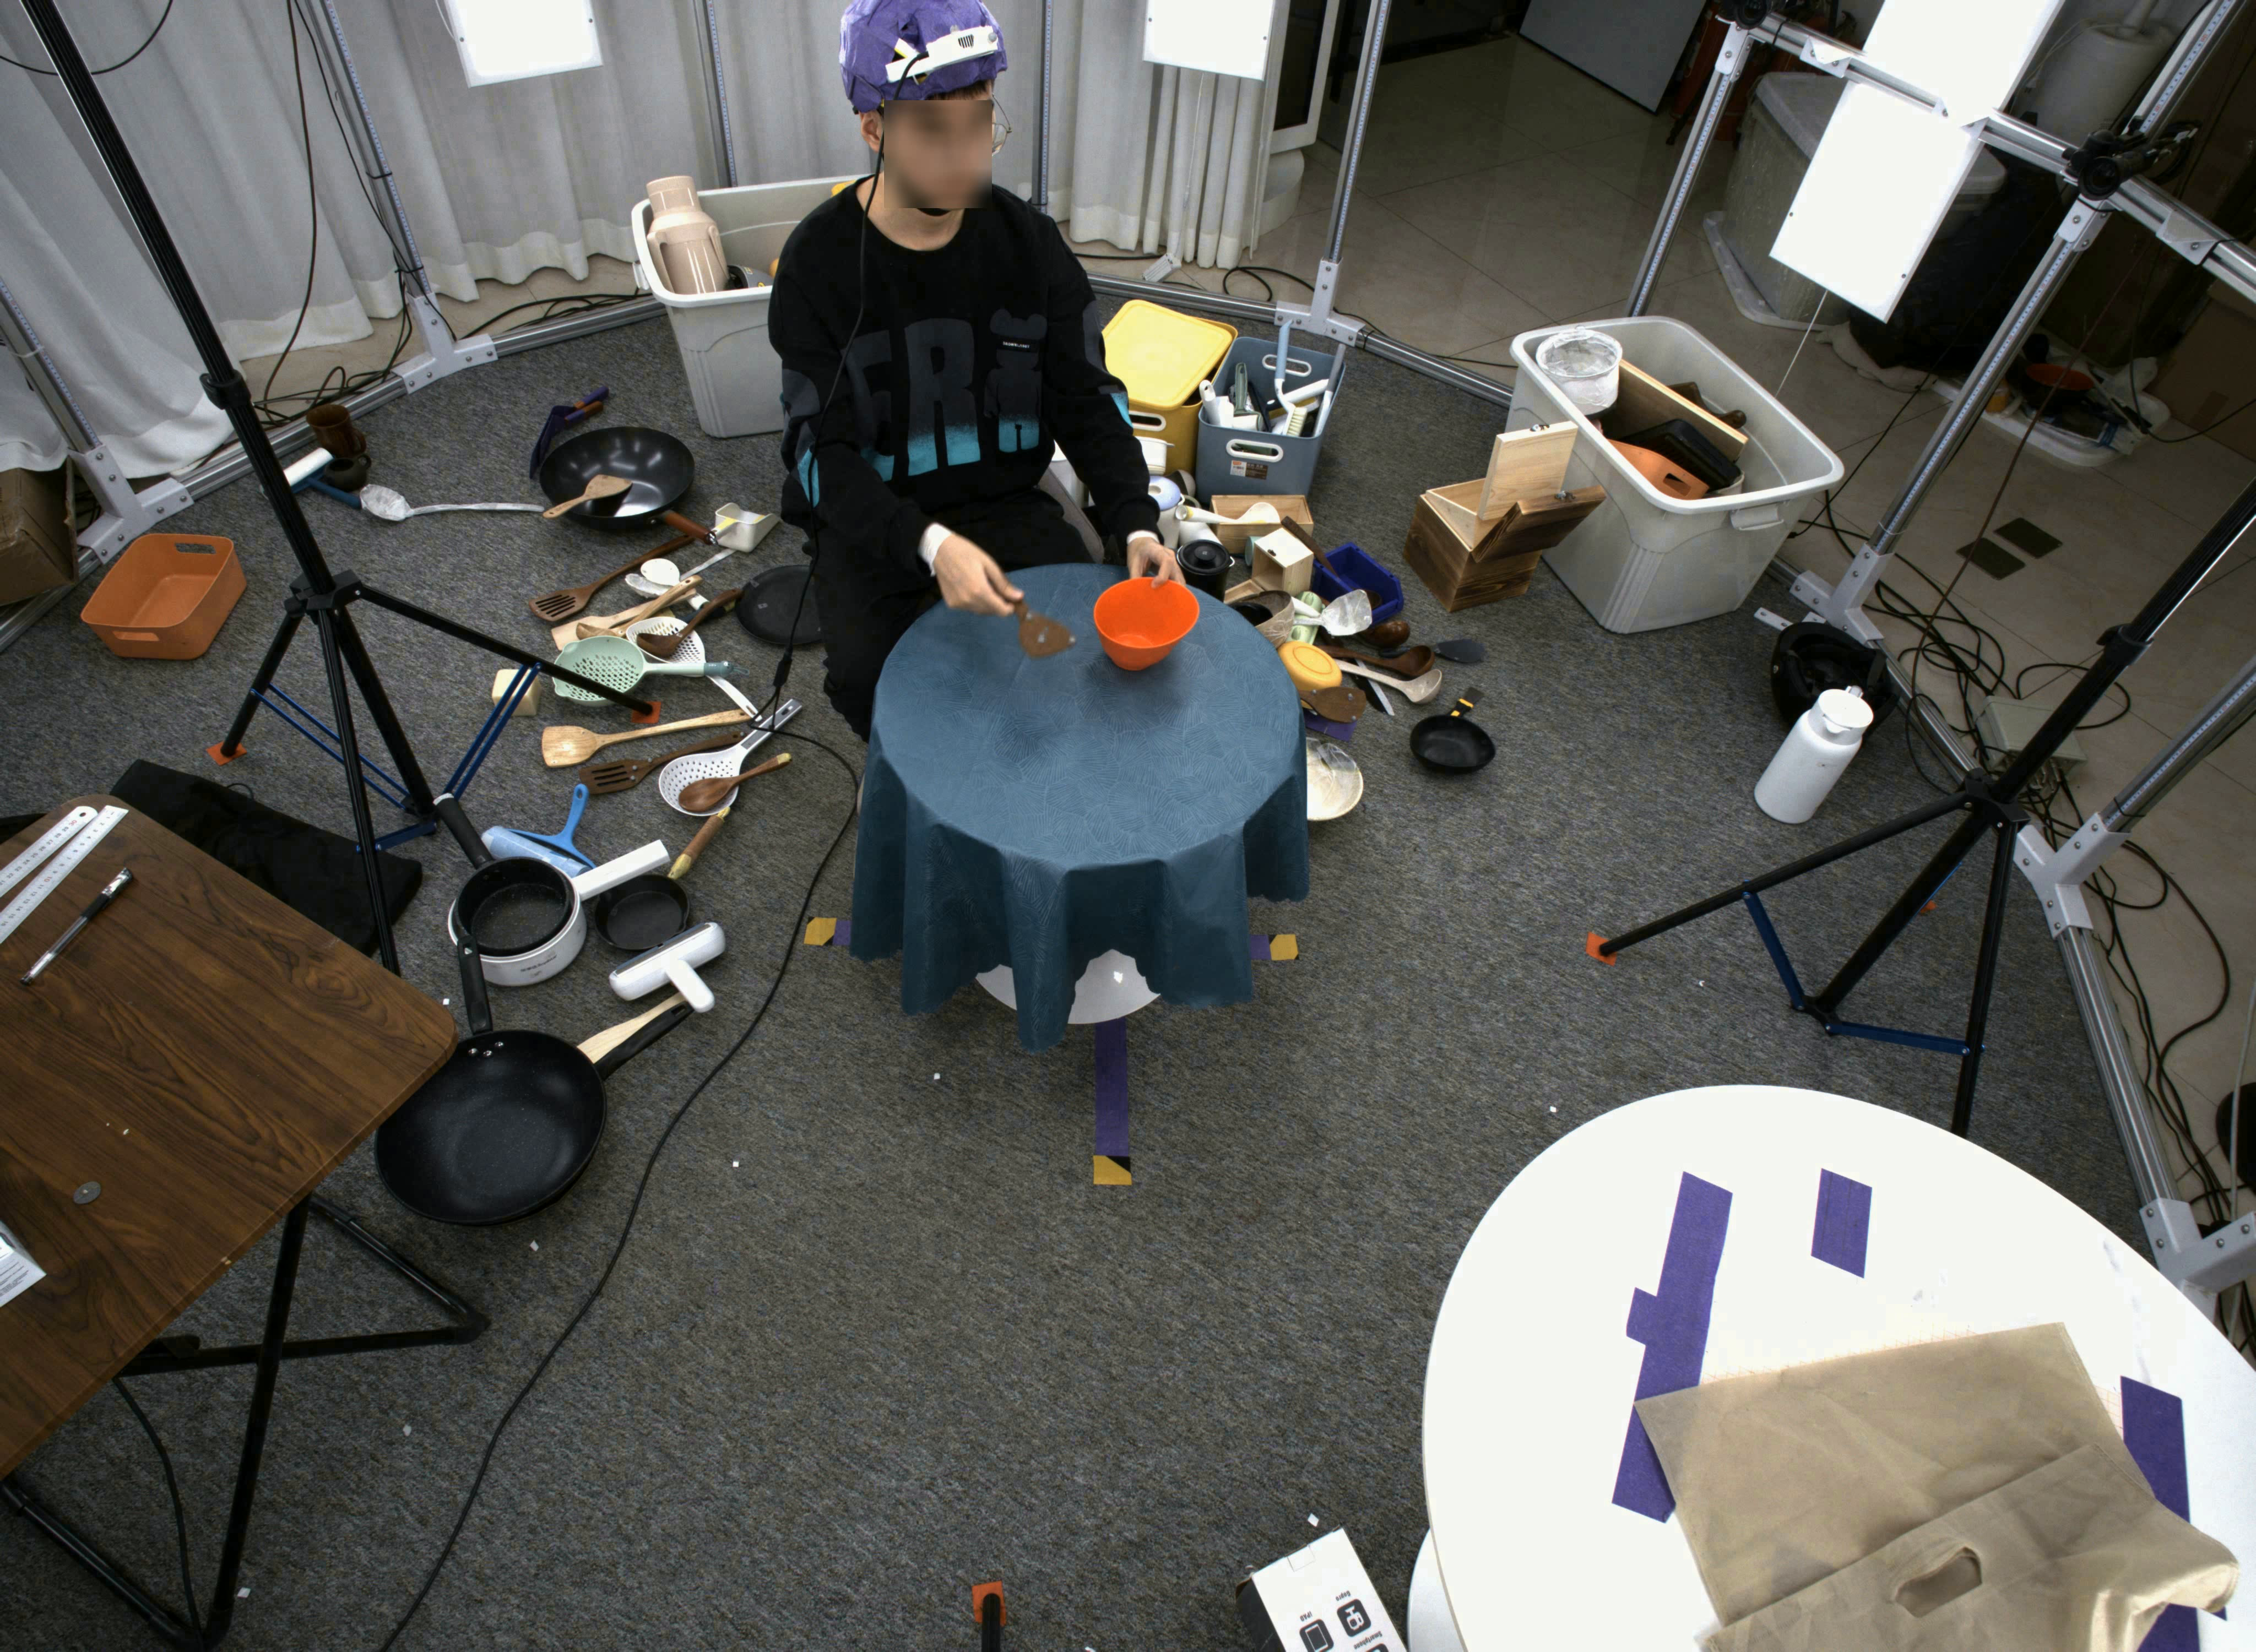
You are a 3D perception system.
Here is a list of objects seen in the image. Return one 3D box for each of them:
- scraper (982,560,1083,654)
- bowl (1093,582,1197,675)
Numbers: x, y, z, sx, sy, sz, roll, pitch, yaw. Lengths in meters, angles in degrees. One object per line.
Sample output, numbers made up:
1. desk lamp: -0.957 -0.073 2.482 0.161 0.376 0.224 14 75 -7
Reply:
1. scraper: -0.143 -0.308 1.791 0.076 0.010 0.215 -23 54 -22
2. bowl: 0.021 -0.276 1.860 0.148 0.102 0.151 2 51 -3
